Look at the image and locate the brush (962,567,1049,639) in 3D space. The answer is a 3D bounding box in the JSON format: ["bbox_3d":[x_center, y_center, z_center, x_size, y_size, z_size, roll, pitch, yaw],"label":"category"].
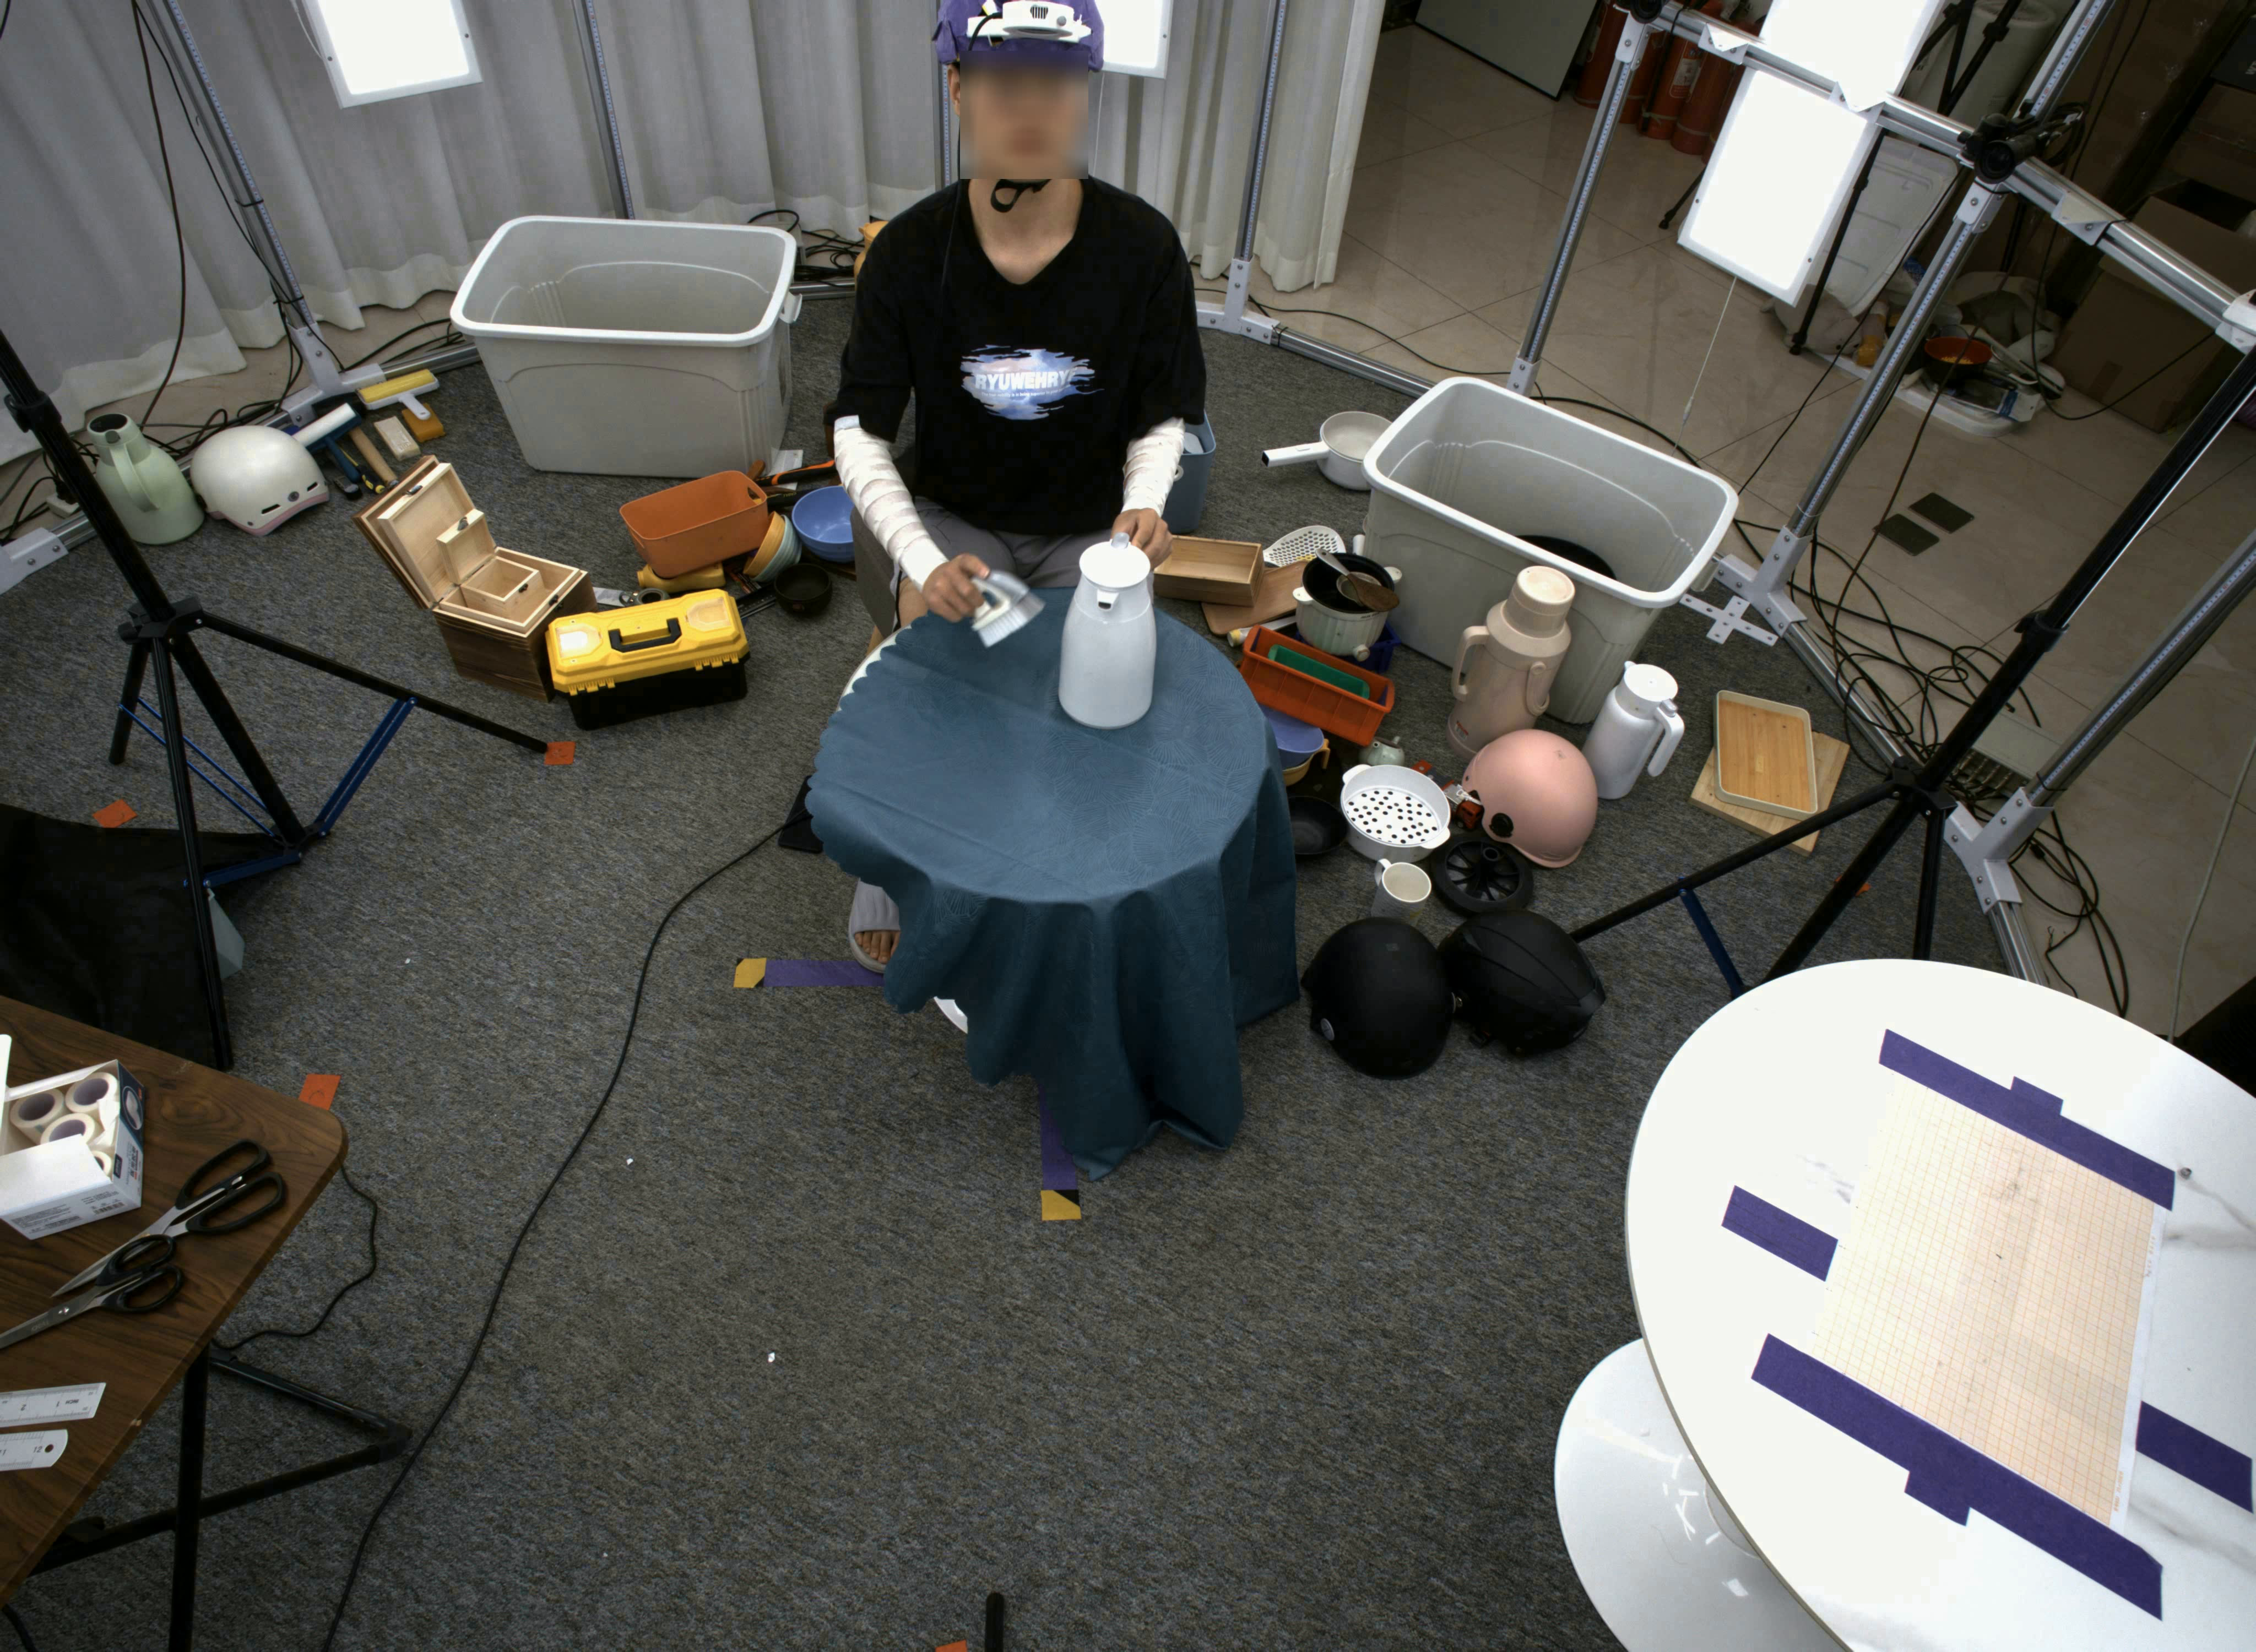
[{"bbox_3d":[-0.168,-0.310,1.720,0.093,0.175,0.062,43,71,-17],"label":"brush"}]

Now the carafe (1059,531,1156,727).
[{"bbox_3d":[-0.022,-0.280,1.752,0.132,0.242,0.171,10,50,4],"label":"carafe"}]
